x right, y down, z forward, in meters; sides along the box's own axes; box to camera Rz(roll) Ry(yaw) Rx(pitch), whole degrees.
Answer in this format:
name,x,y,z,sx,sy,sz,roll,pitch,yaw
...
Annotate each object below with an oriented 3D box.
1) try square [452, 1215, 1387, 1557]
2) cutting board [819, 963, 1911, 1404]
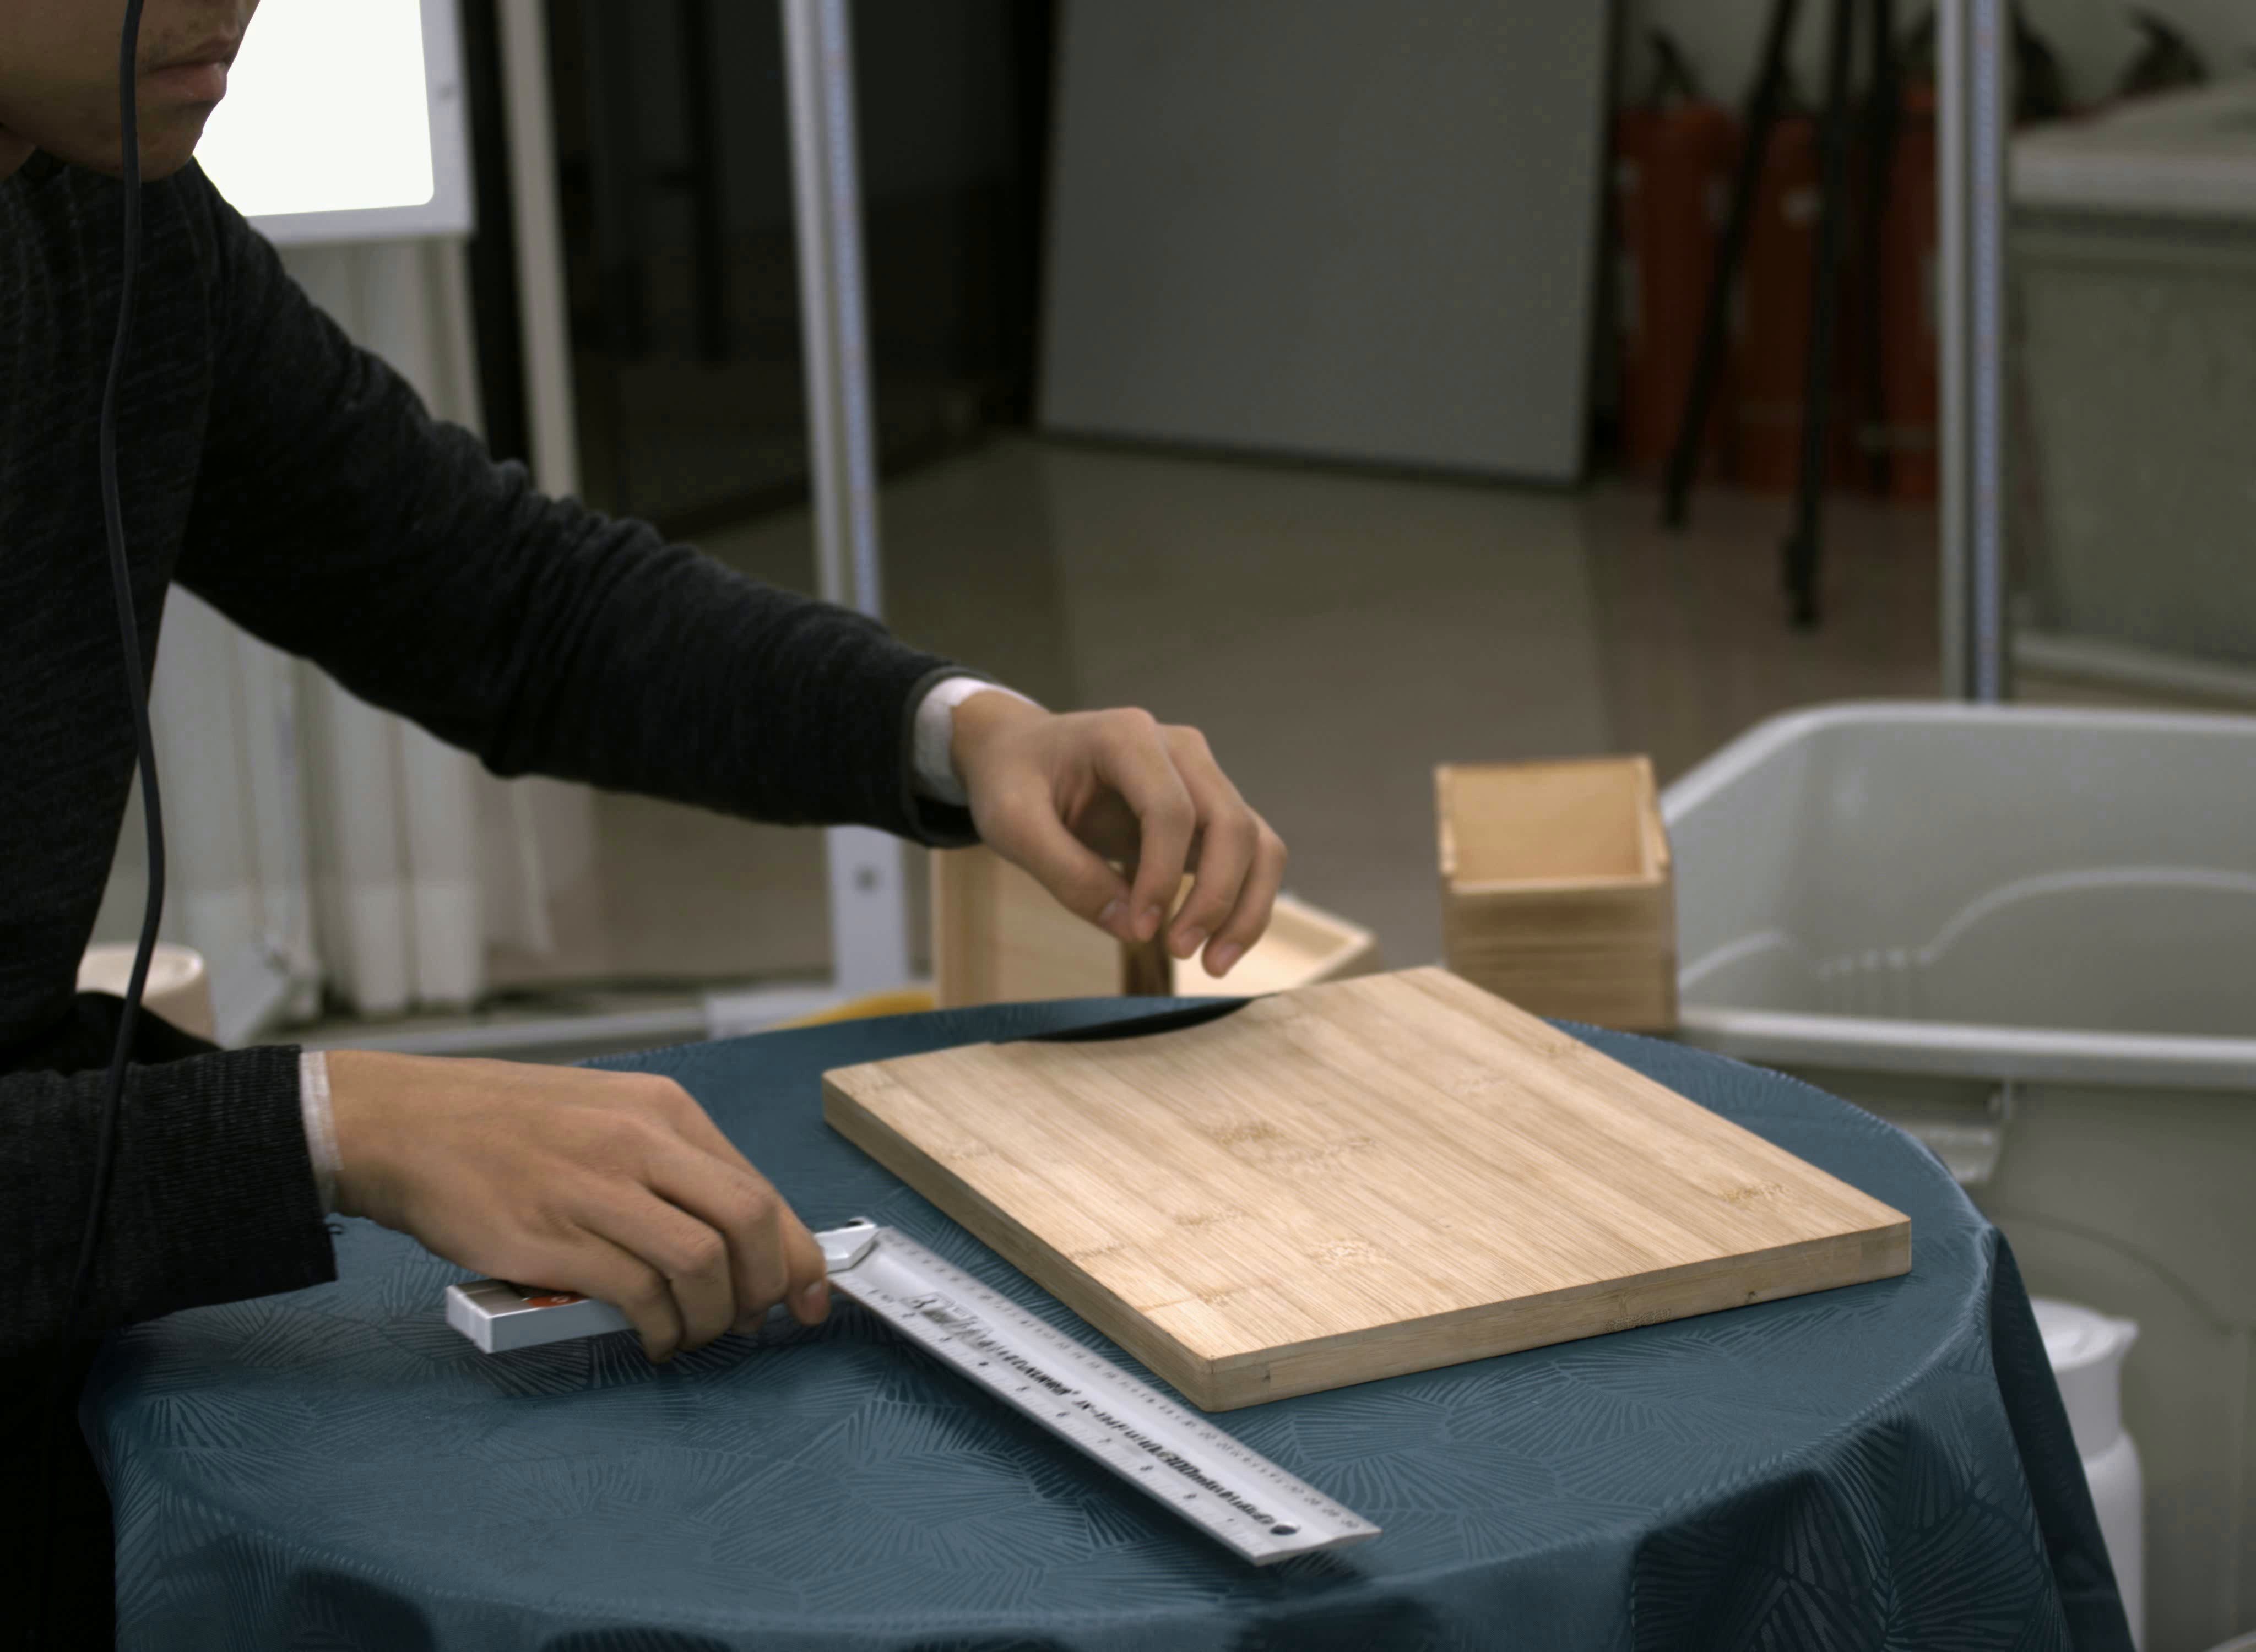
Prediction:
name,x,y,z,sx,sy,sz,roll,pitch,yaw
try square,-0.068,0.166,1.534,0.149,0.016,0.316,-9,15,-25
cutting board,0.066,0.111,1.759,0.245,0.024,0.352,-10,15,-21
